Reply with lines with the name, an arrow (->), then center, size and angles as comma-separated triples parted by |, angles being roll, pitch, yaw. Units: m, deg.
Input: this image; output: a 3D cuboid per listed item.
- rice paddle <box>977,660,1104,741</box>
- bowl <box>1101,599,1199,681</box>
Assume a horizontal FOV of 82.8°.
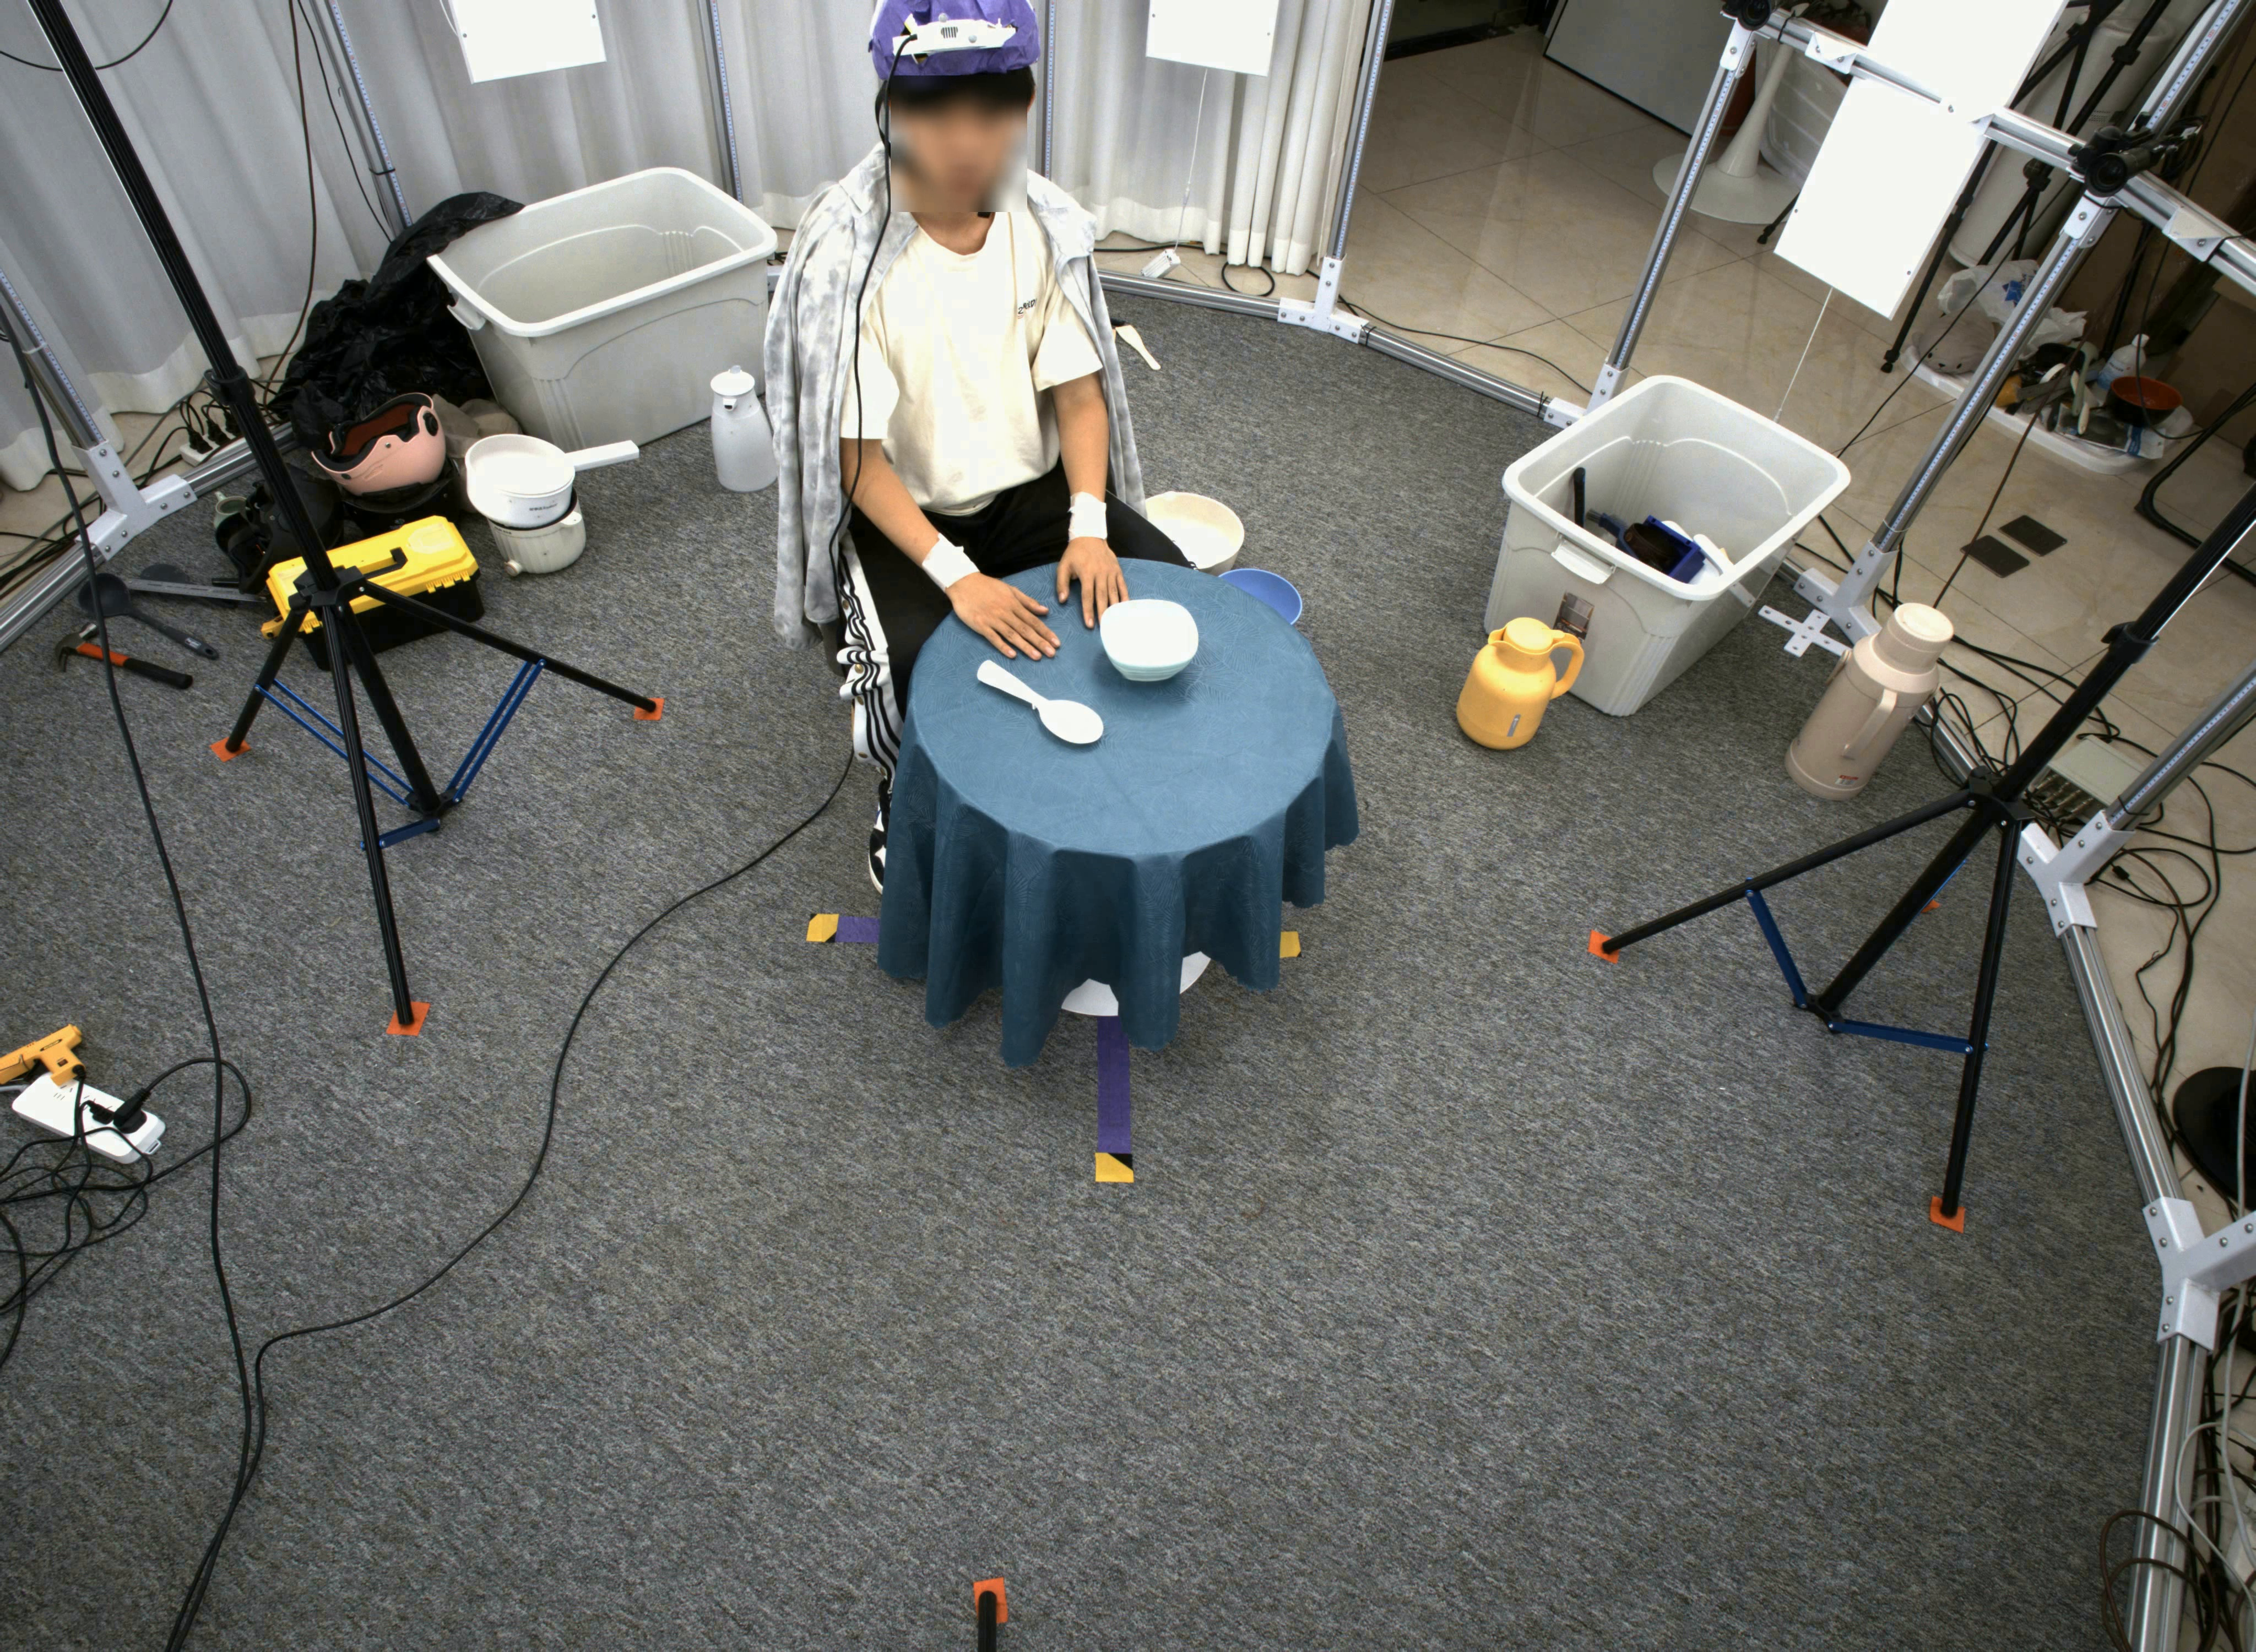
rice paddle -> -0.121, -0.174, 1.784 | 0.207, 0.029, 0.069 | 31, 55, 21
bowl -> 0.030, -0.260, 1.853 | 0.151, 0.057, 0.155 | 2, 51, -2
